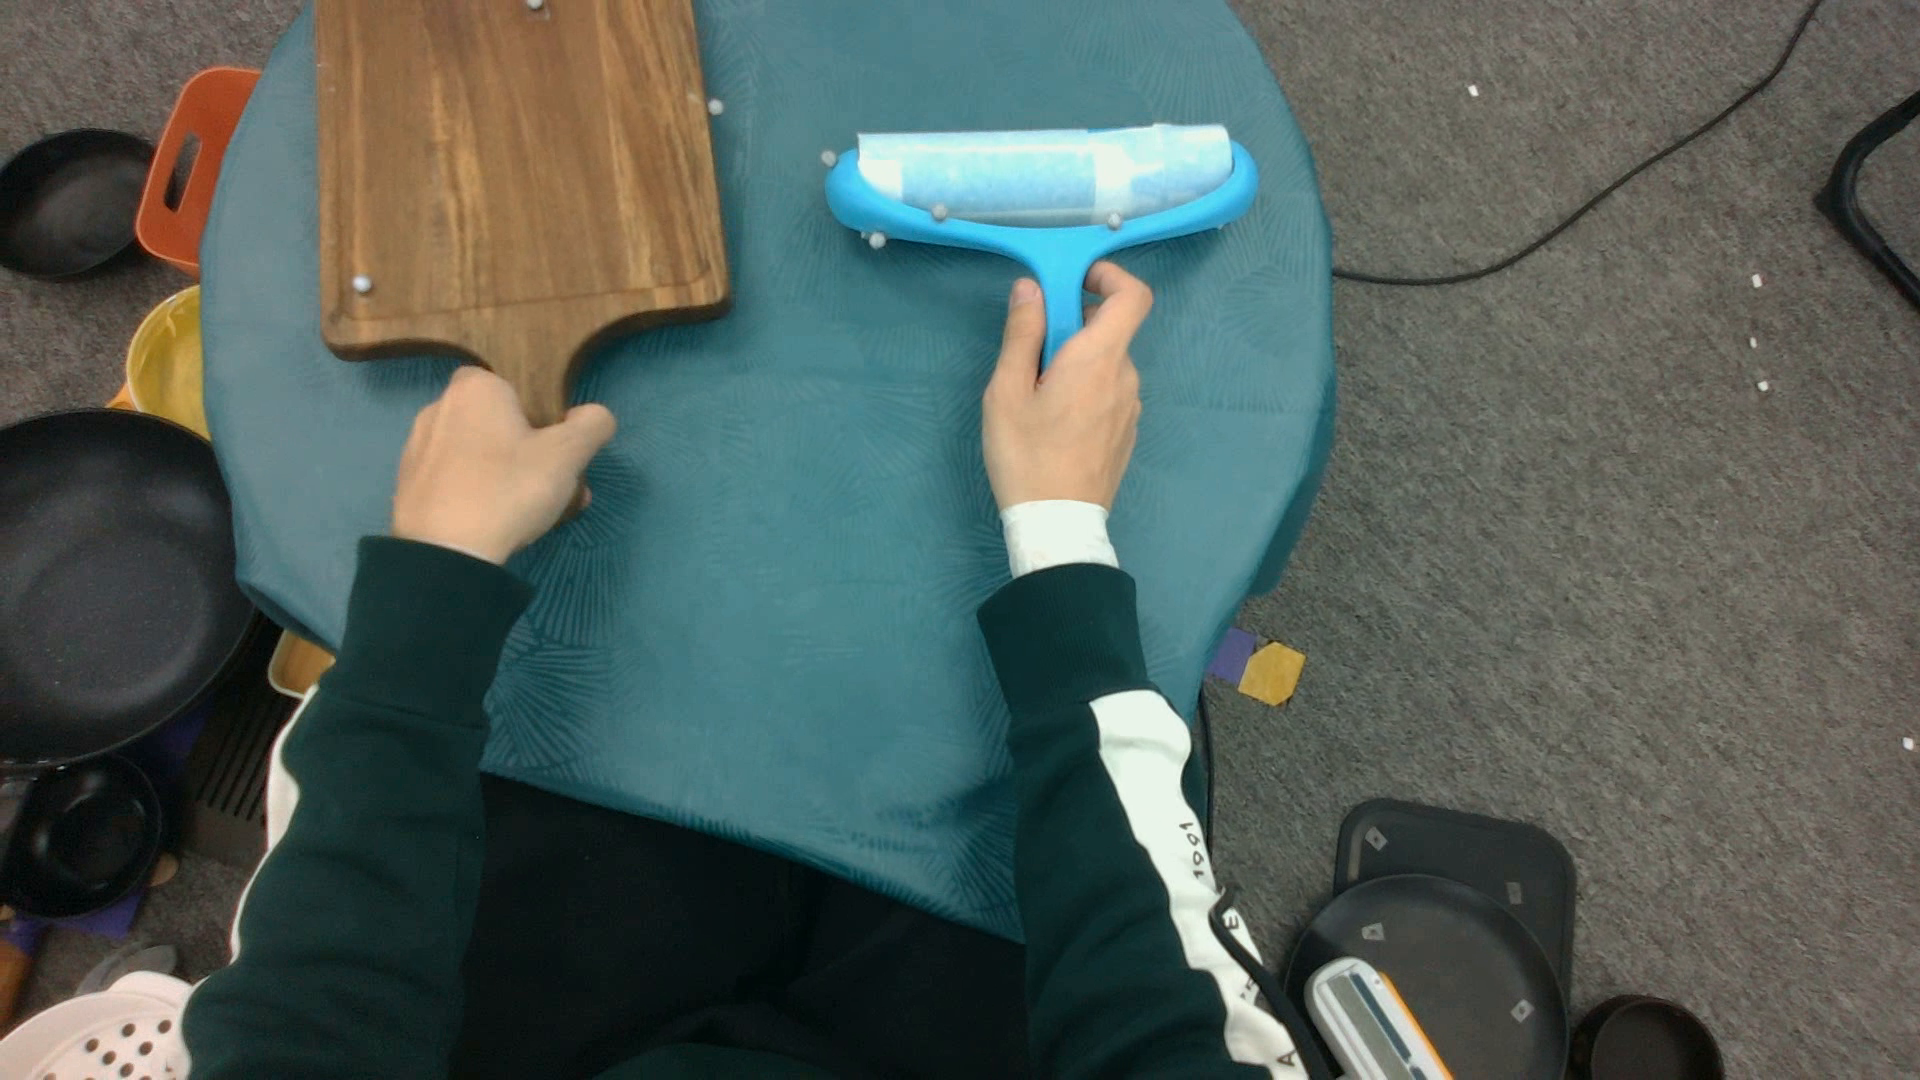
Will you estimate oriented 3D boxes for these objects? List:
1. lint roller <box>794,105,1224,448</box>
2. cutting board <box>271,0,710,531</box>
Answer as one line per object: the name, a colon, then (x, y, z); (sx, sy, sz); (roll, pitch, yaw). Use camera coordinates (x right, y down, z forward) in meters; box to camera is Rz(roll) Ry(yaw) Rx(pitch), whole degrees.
lint roller: (0.036, -0.142, 0.711); (0.229, 0.067, 0.180); (-7, 71, -8)
cutting board: (-0.238, -0.170, 0.702); (0.201, 0.023, 0.353); (-11, 72, -7)
